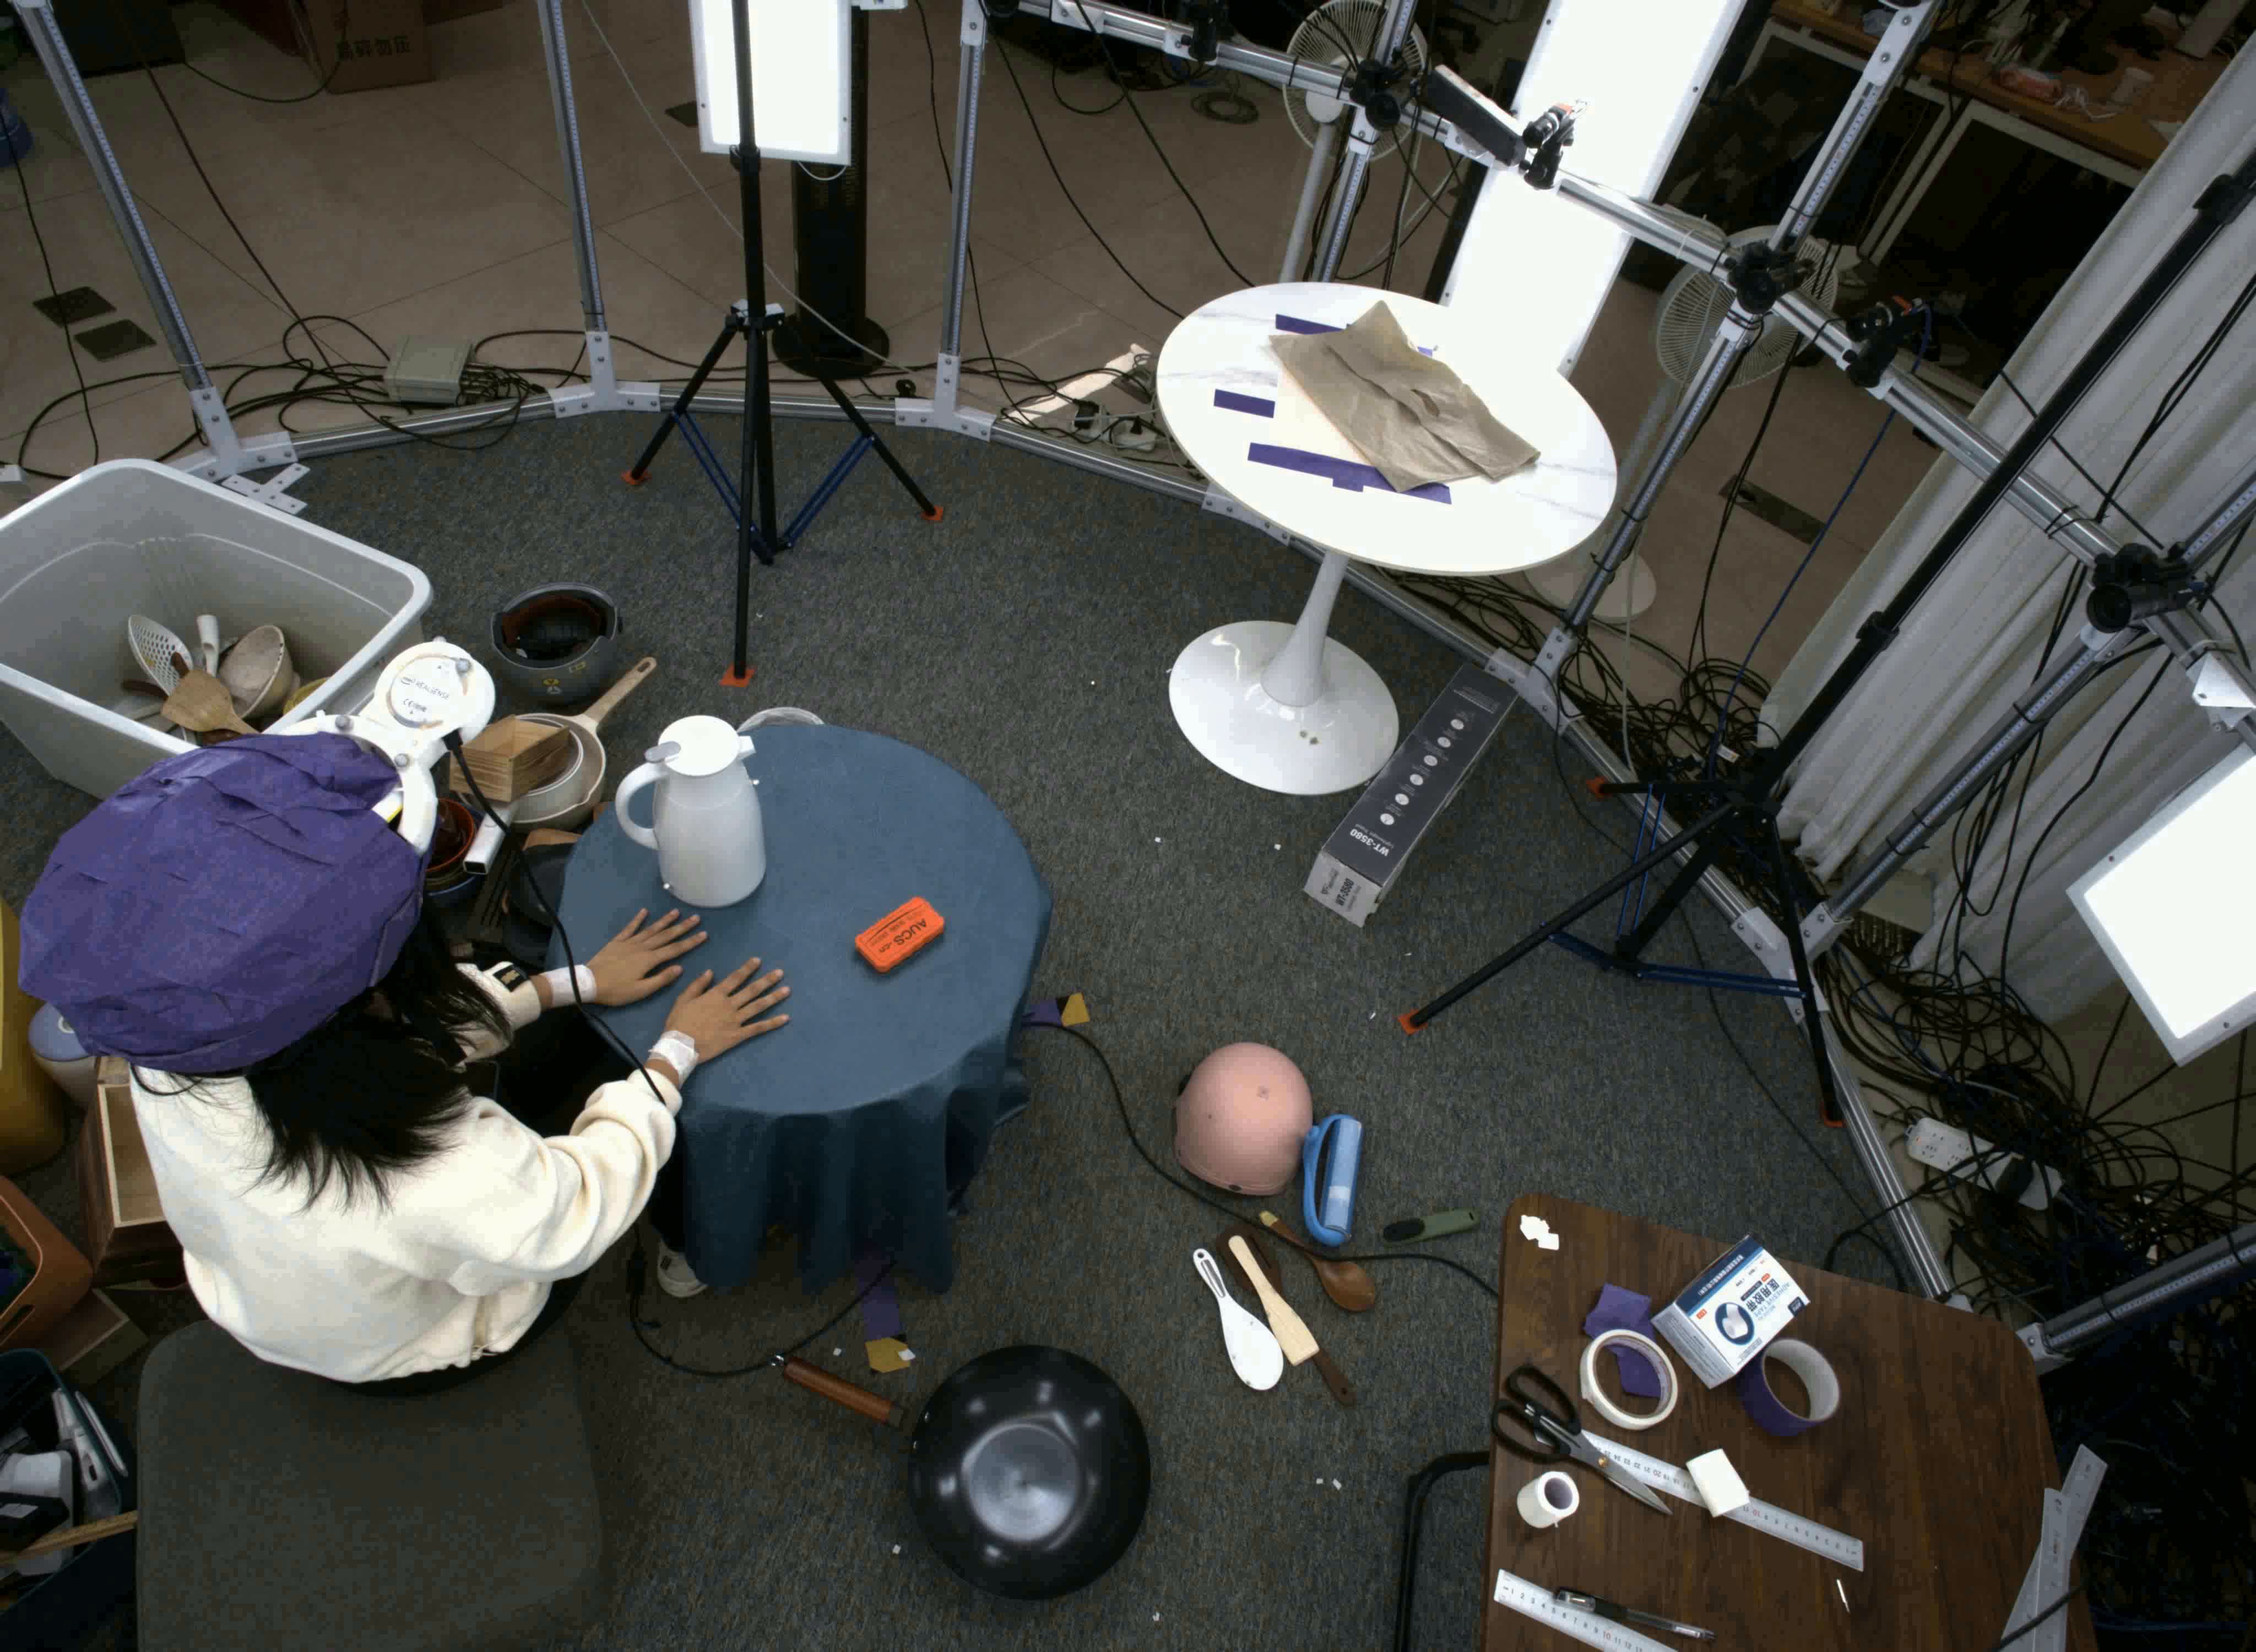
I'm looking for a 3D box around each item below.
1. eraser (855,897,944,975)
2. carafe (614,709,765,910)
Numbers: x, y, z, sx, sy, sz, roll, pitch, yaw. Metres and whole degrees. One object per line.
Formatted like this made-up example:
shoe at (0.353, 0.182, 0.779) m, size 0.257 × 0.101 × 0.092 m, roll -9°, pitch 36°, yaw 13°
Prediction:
eraser at (-0.287, 0.136, 1.638) m, size 0.057 × 0.023 × 0.108 m, roll 40°, pitch 54°, yaw 19°
carafe at (-0.529, -0.021, 1.545) m, size 0.168 × 0.254 × 0.129 m, roll -17°, pitch 58°, yaw -23°
